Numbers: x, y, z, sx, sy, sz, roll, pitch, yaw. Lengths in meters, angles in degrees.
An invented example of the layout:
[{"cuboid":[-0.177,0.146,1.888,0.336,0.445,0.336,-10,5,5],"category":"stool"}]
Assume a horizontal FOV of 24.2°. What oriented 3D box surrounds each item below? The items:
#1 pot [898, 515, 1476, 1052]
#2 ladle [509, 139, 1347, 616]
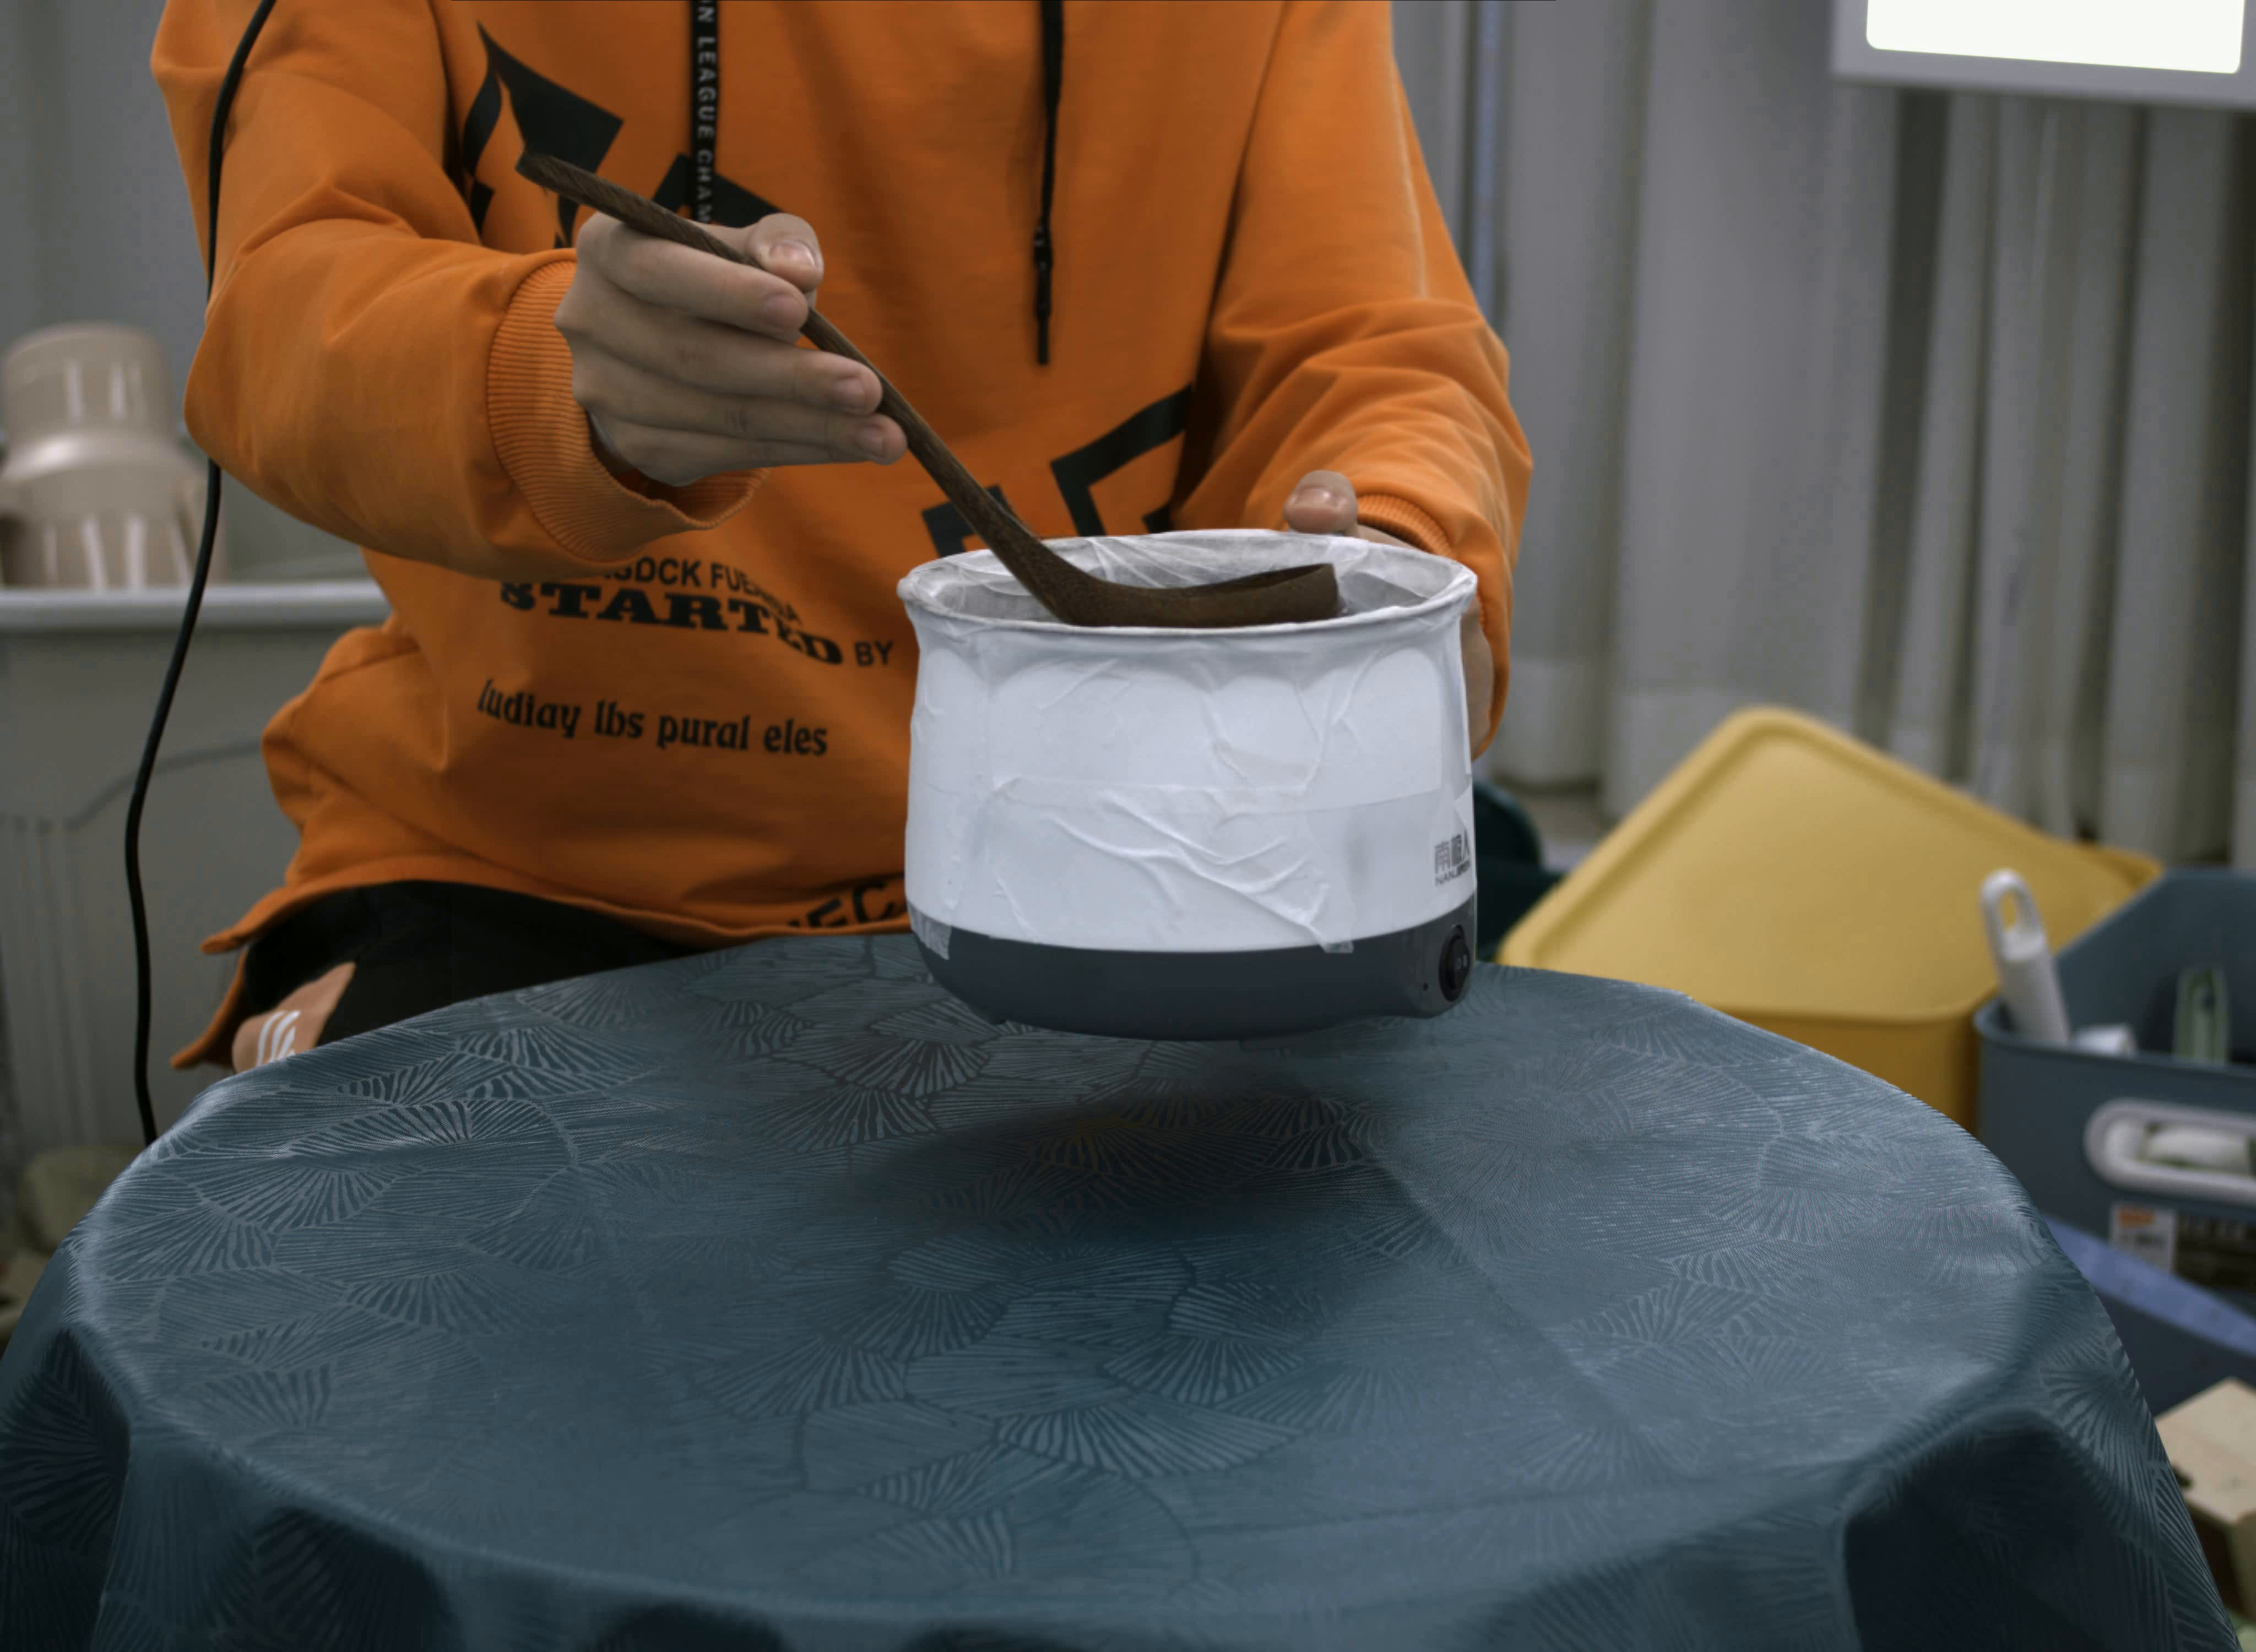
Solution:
[{"cuboid":[0.029,-0.019,1.641,0.177,0.137,0.234,5,14,22],"category":"pot"},{"cuboid":[-0.055,-0.137,1.559,0.275,0.071,0.076,40,-5,-8],"category":"ladle"}]
